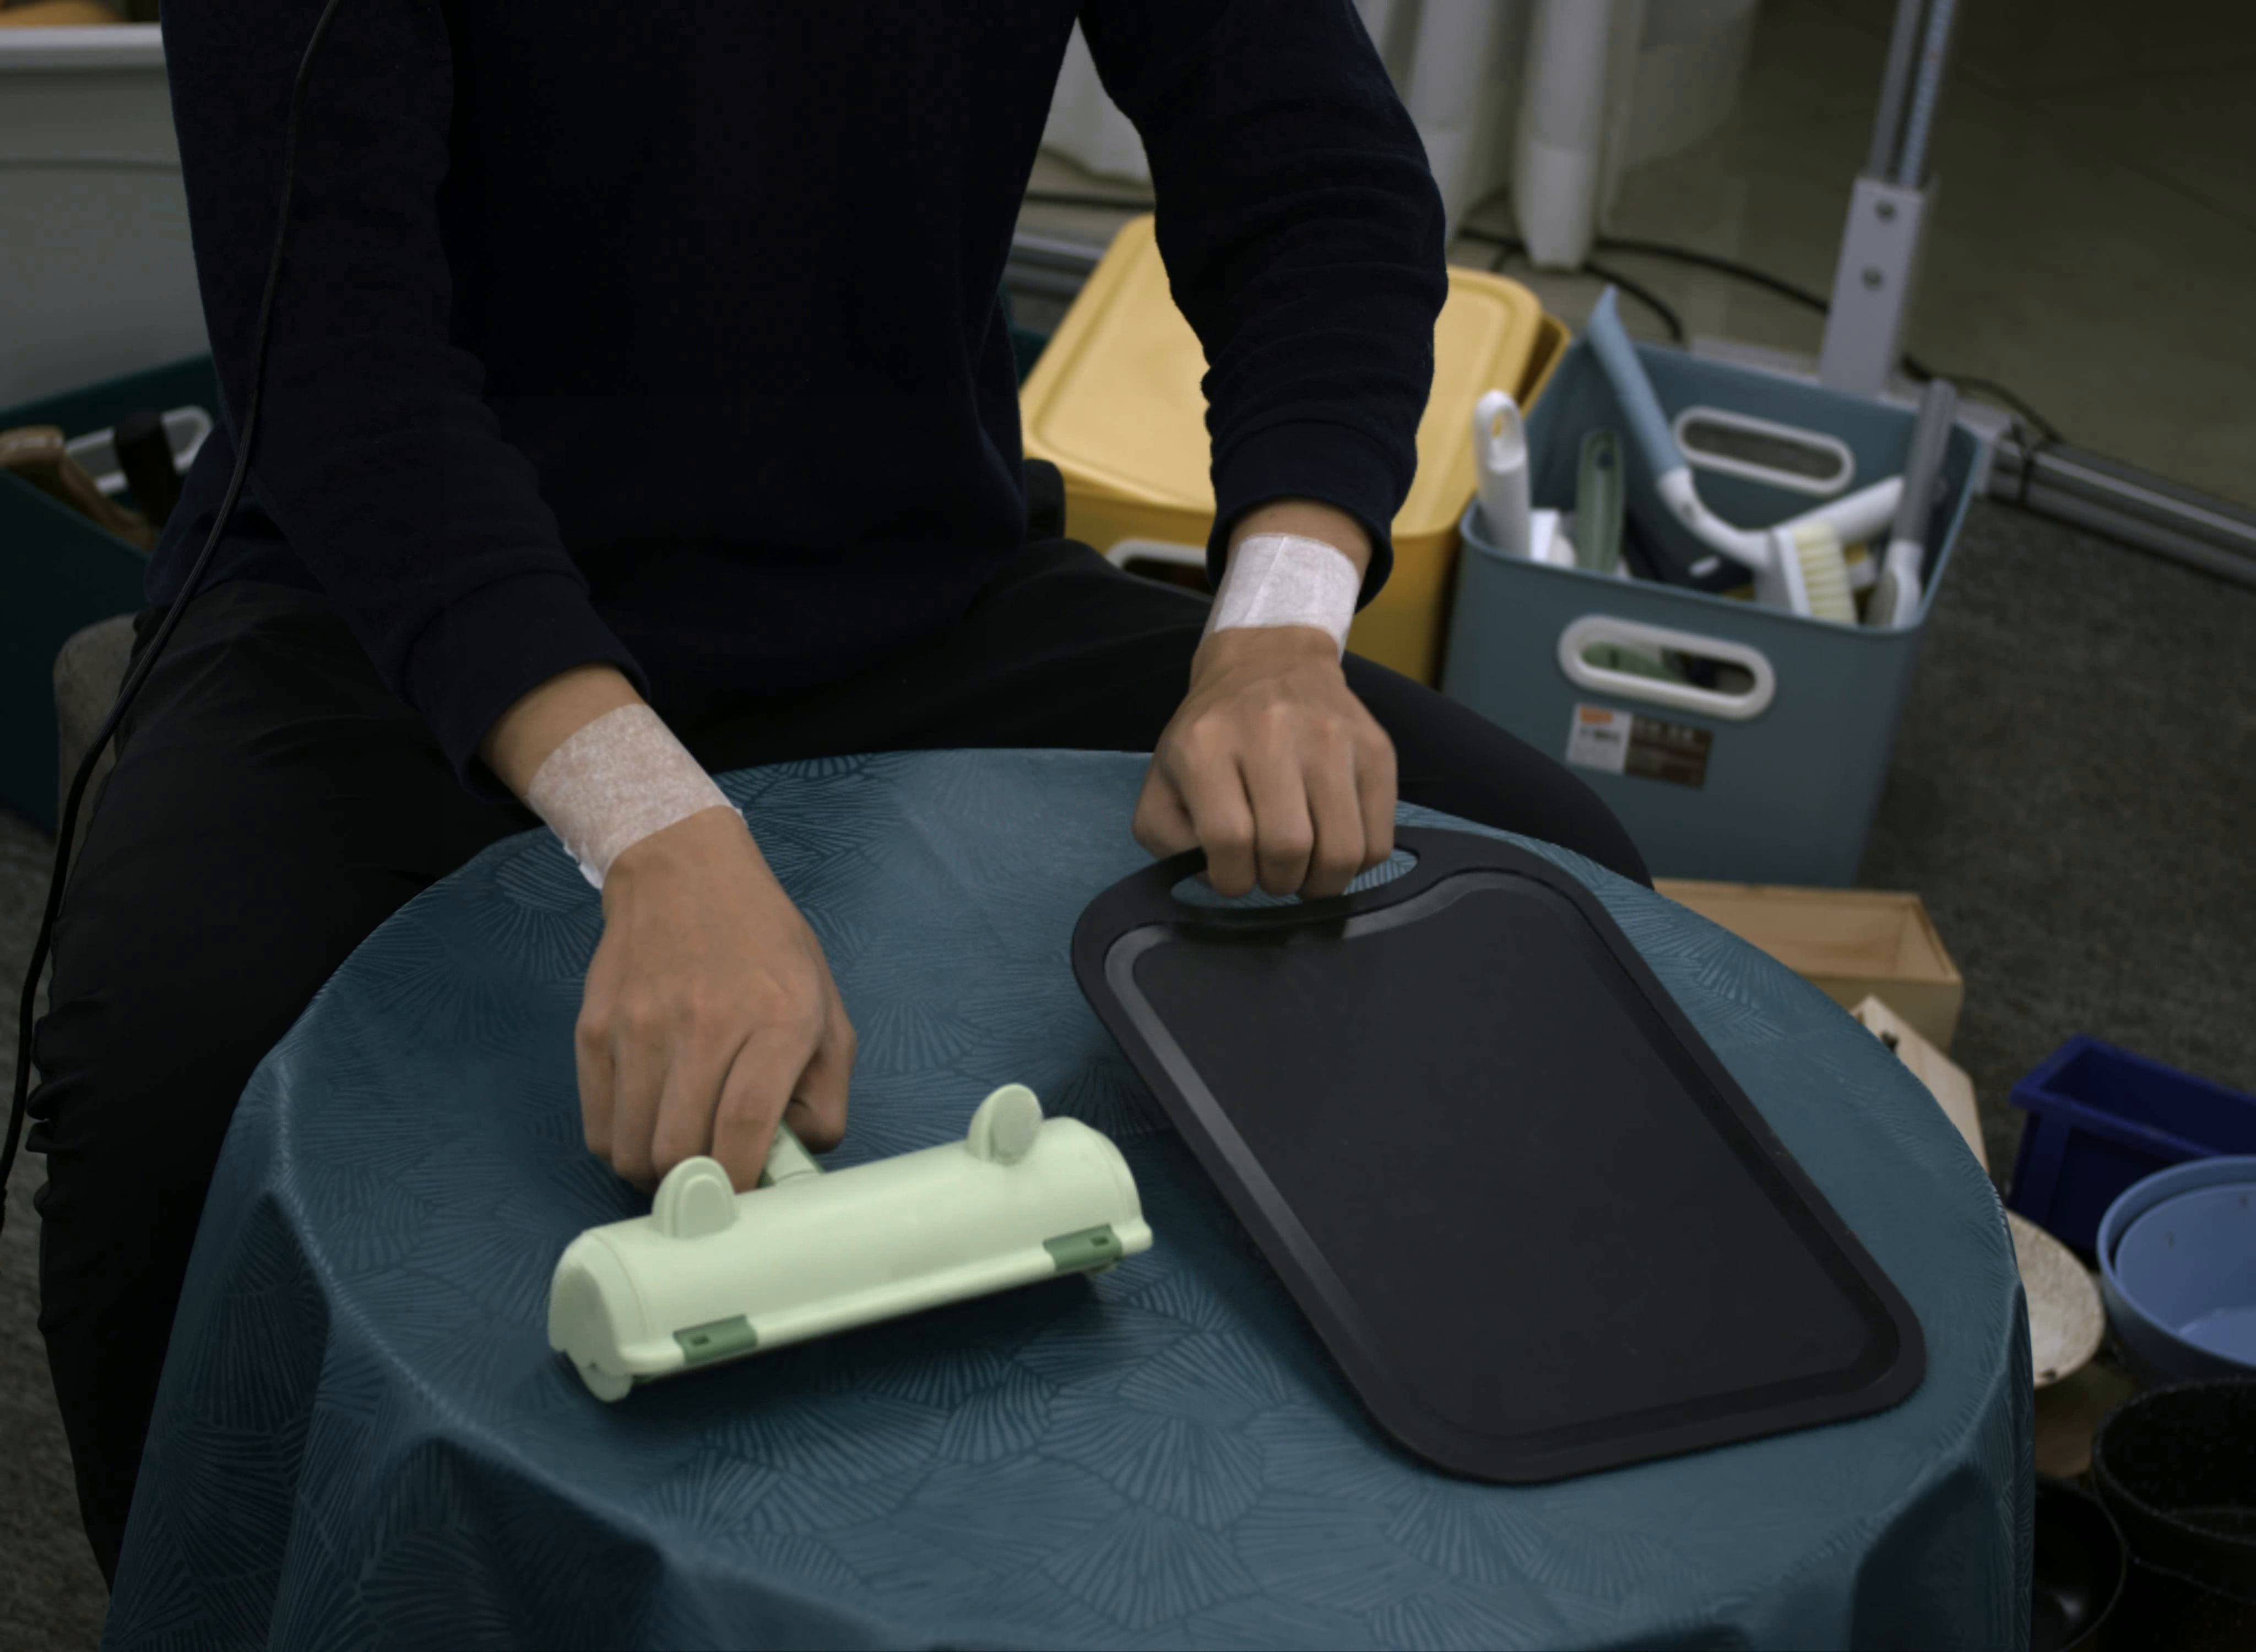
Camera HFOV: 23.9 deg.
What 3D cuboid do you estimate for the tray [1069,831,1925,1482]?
[{"bbox_3d":[0.117,0.101,1.805,0.210,0.010,0.328,-8,40,-26],"label":"tray"}]

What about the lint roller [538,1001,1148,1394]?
[{"bbox_3d":[-0.116,0.096,1.725,0.197,0.082,0.185,-11,44,-31],"label":"lint roller"}]
